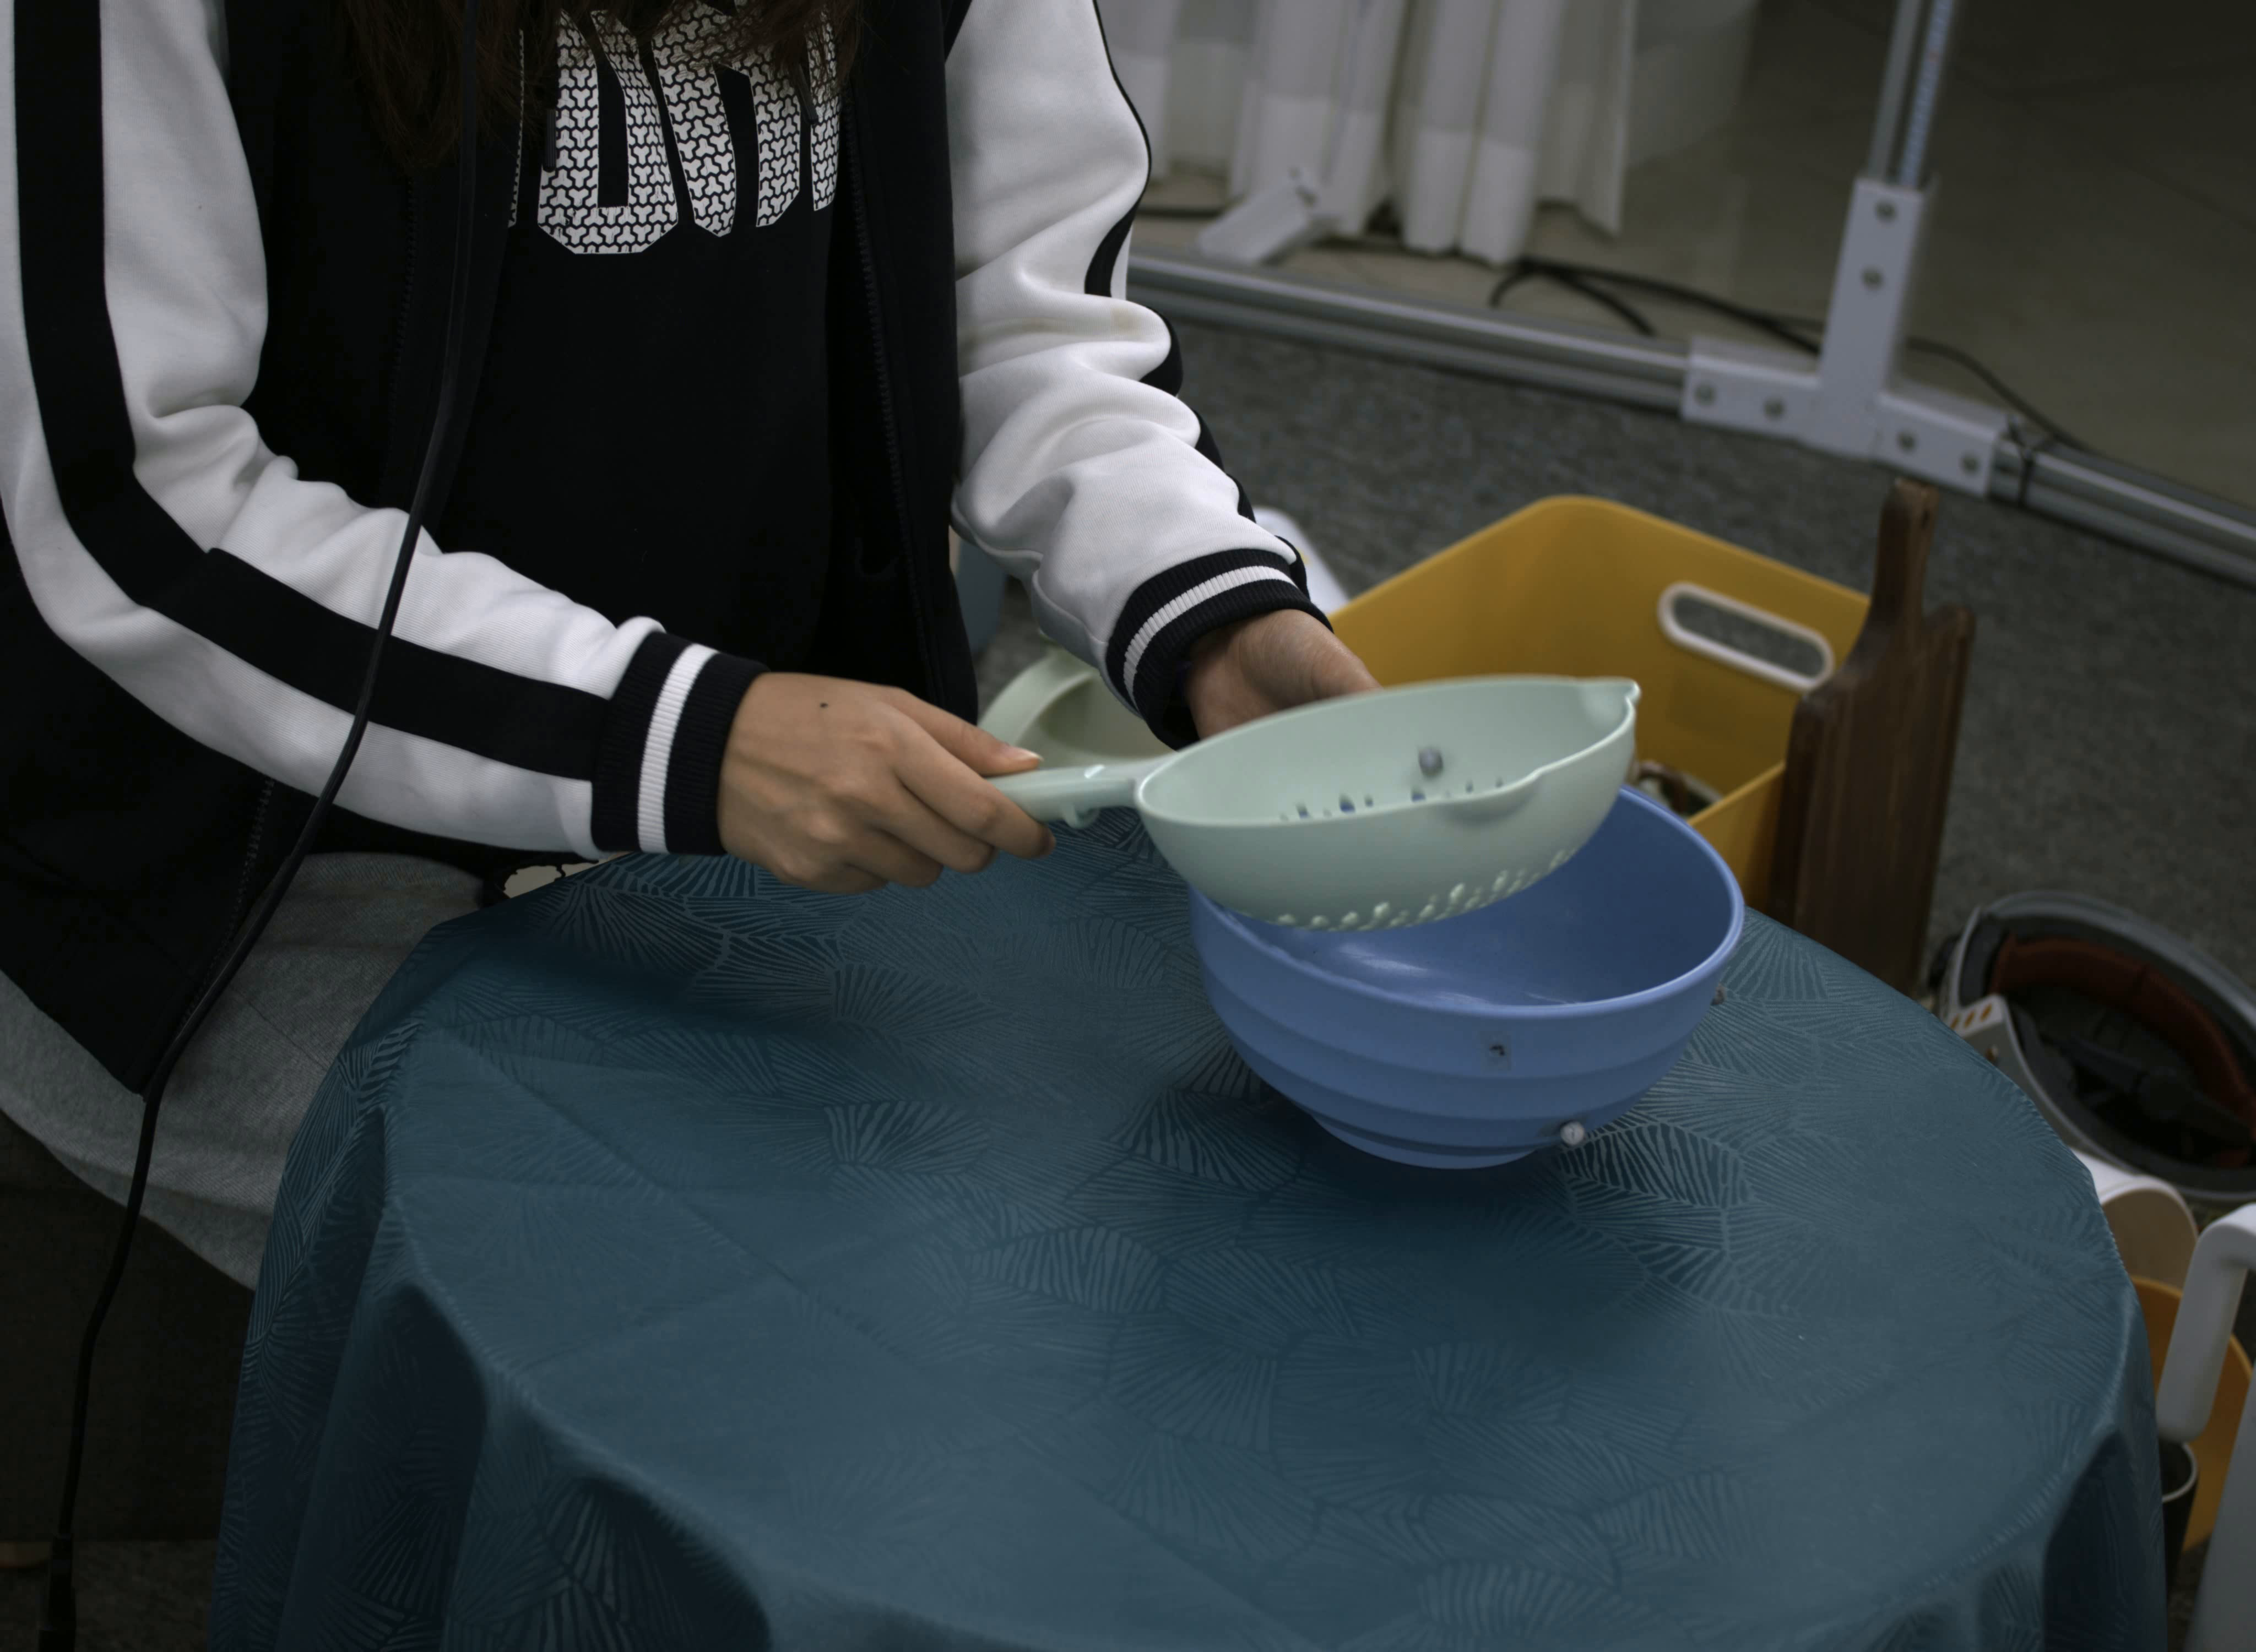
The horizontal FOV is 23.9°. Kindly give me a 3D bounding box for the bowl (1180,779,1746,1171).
[{"bbox_3d":[0.111,0.056,1.855,0.196,0.095,0.198,5,27,-3],"label":"bowl"}]

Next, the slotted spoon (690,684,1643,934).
[{"bbox_3d":[0.002,-0.005,1.829,0.360,0.075,0.169,3,15,26],"label":"slotted spoon"}]
